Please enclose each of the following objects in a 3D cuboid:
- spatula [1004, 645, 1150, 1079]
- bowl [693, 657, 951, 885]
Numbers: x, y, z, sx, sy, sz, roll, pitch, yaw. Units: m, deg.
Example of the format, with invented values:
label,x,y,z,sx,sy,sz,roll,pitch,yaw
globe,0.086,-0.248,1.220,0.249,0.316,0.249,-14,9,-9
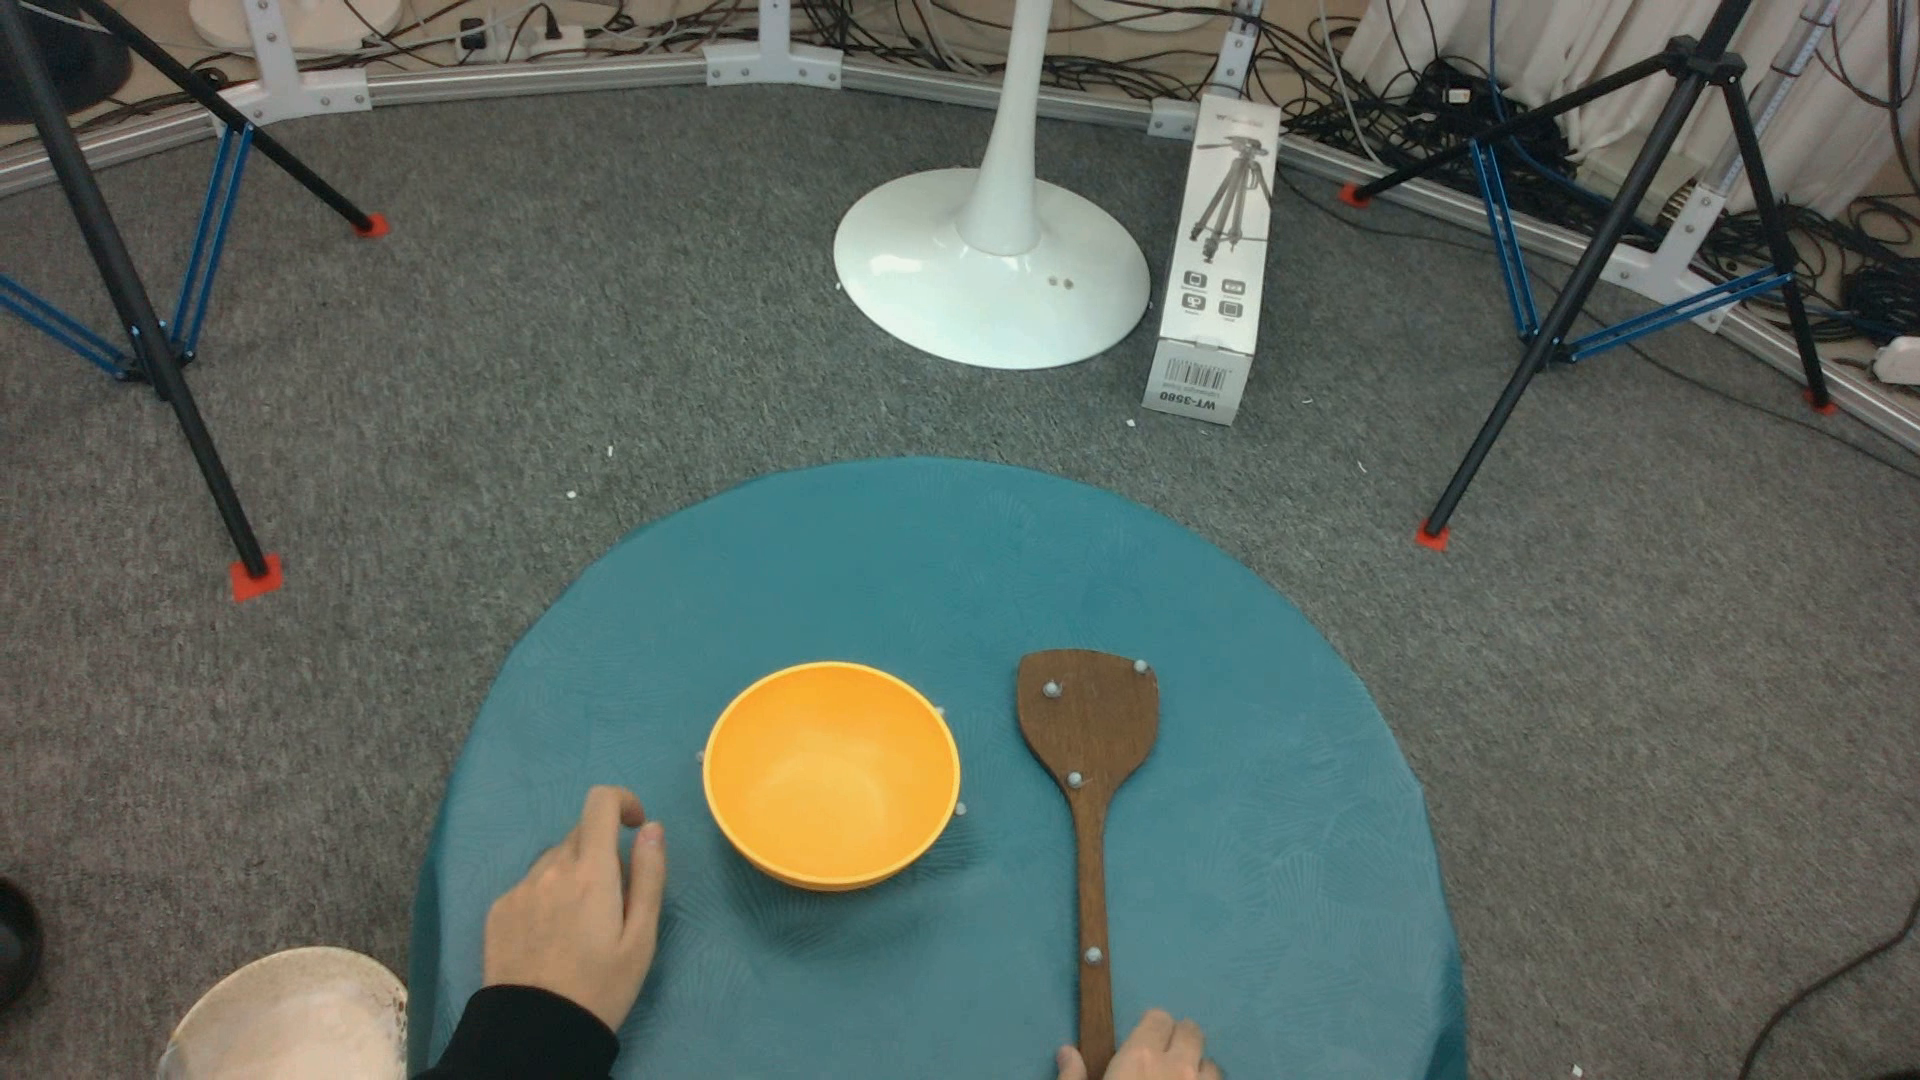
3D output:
label,x,y,z,sx,sy,sz,roll,pitch,yaw
spatula,0.070,0.216,0.787,0.096,0.015,0.388,6,48,-4
bowl,-0.079,0.143,0.798,0.145,0.060,0.146,3,49,-4
